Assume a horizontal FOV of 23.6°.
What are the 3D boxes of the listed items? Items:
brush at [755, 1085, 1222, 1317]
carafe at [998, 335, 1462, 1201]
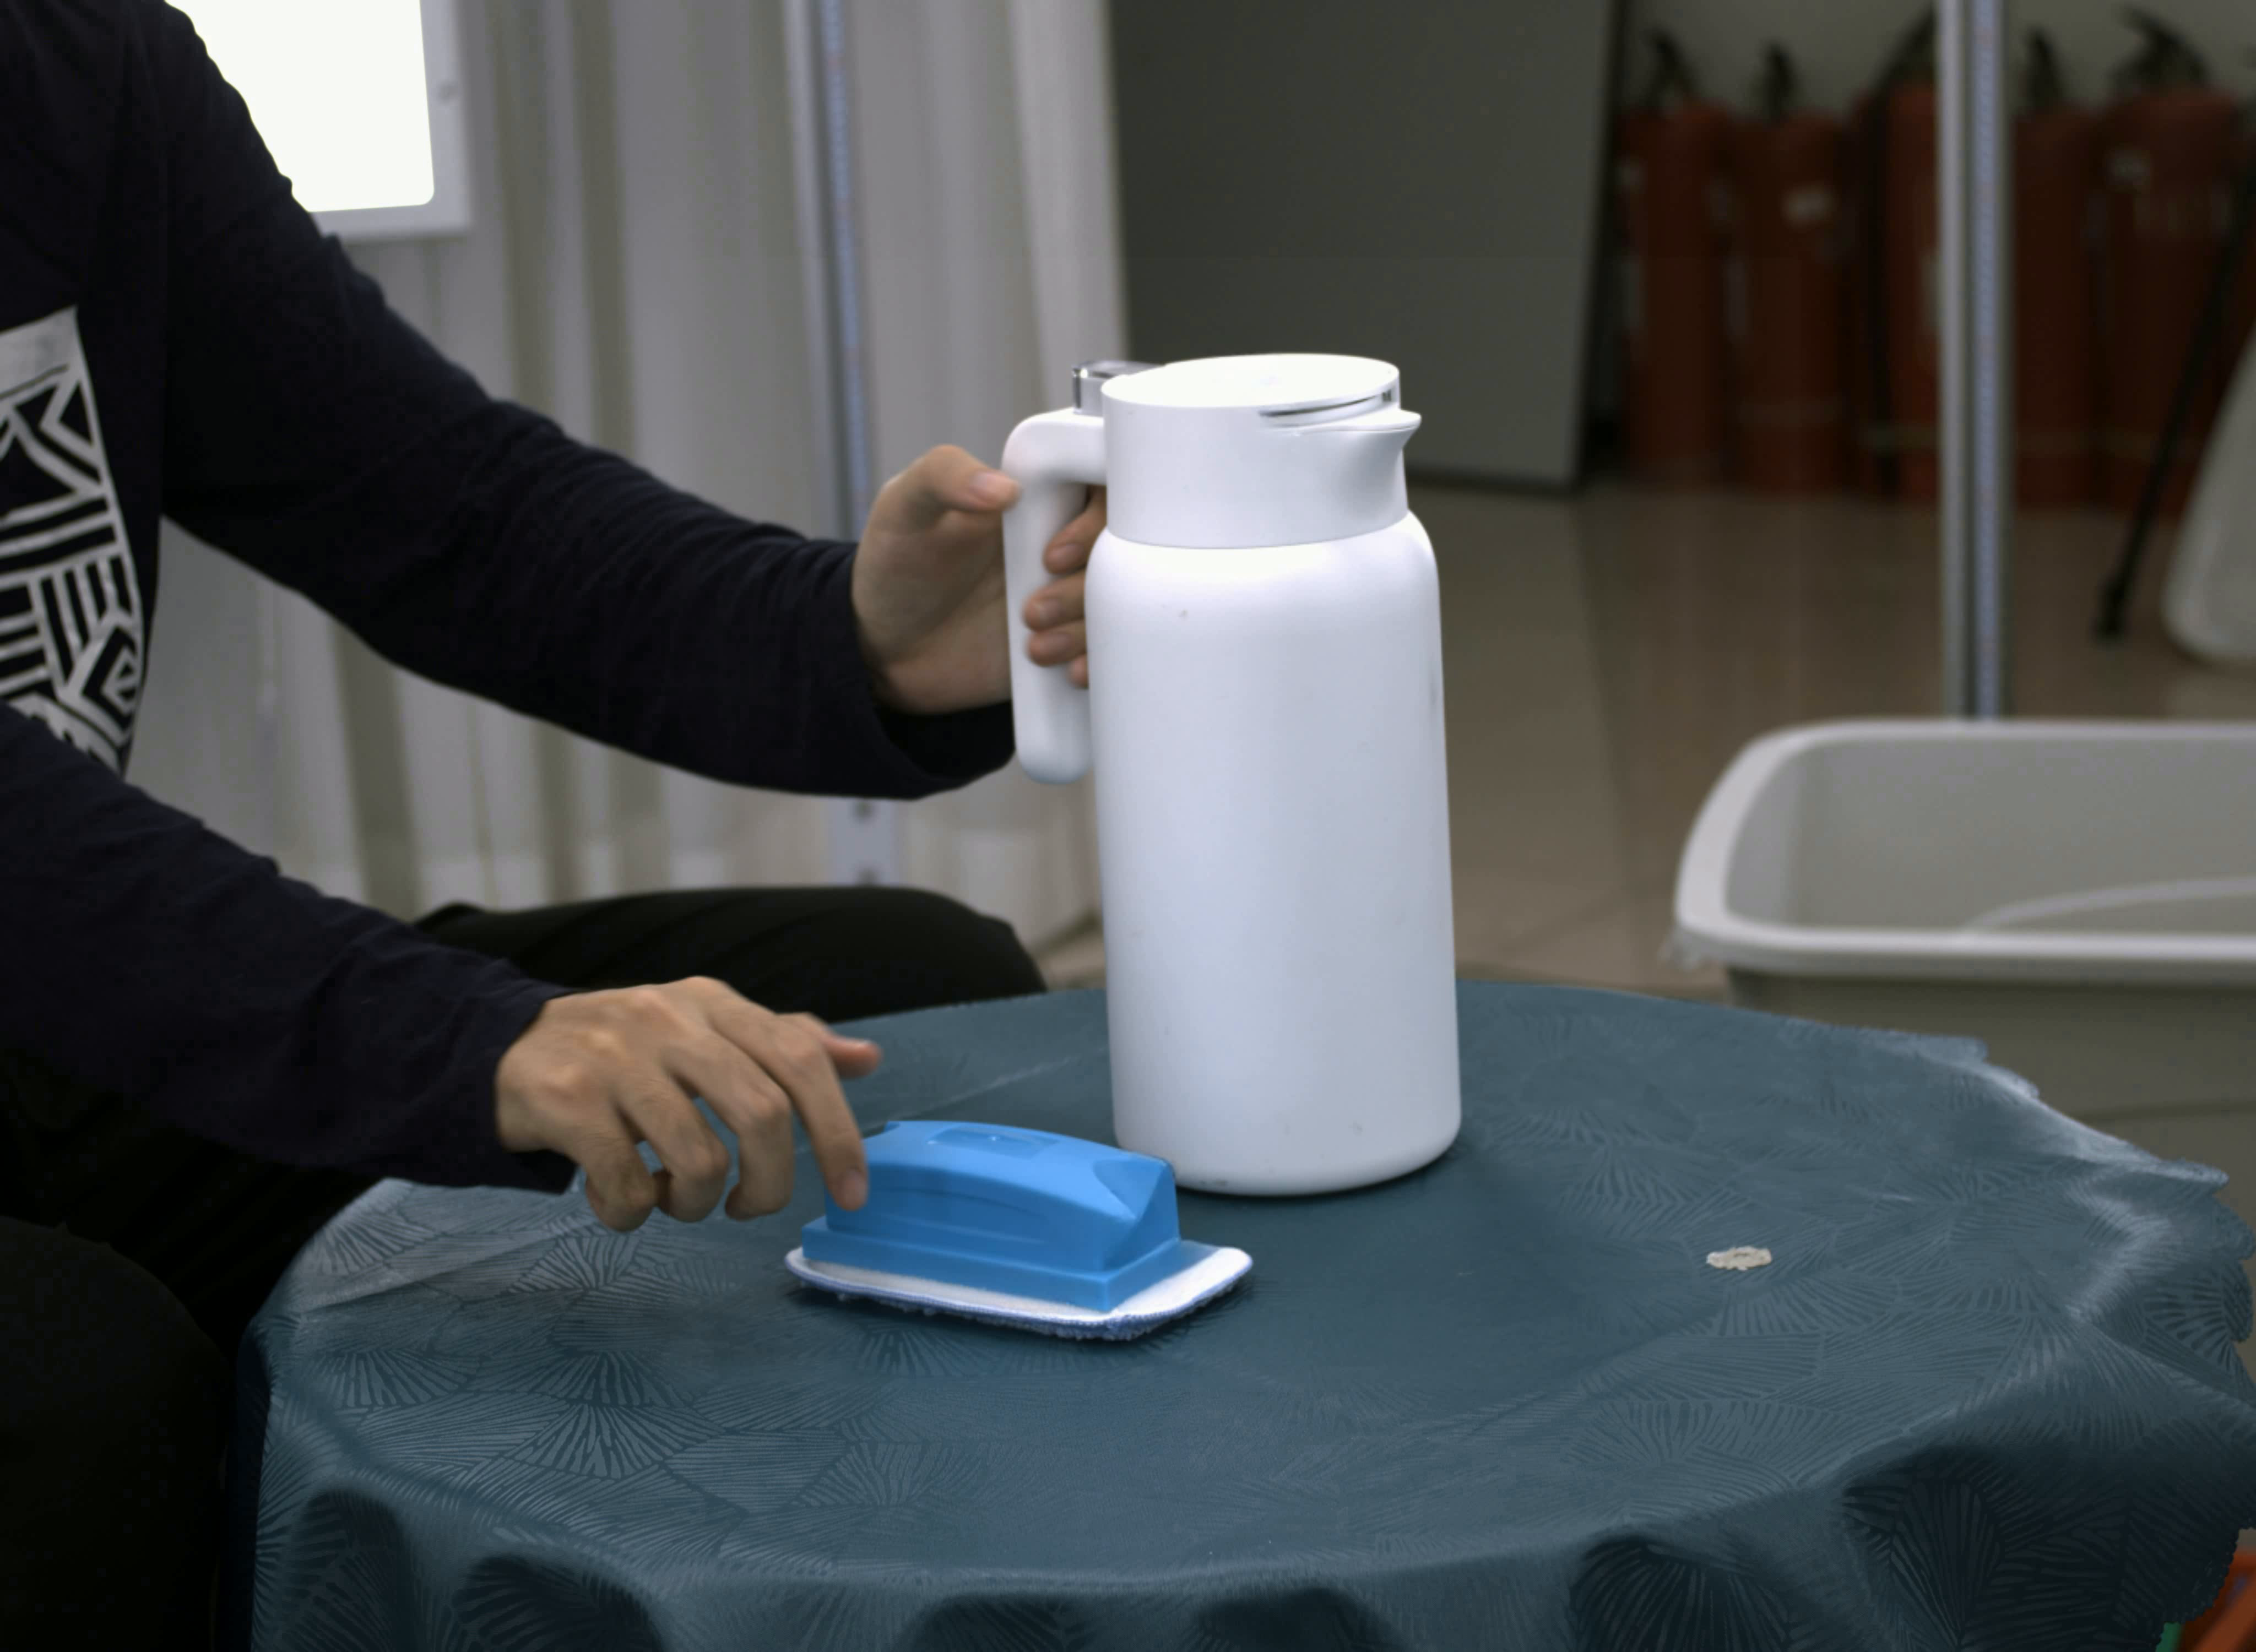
[{"bbox_3d":[-0.043,0.115,1.680,0.145,0.056,0.082,11,17,37],"label":"brush"},{"bbox_3d":[0.033,-0.021,1.783,0.174,0.272,0.121,7,18,41],"label":"carafe"}]
